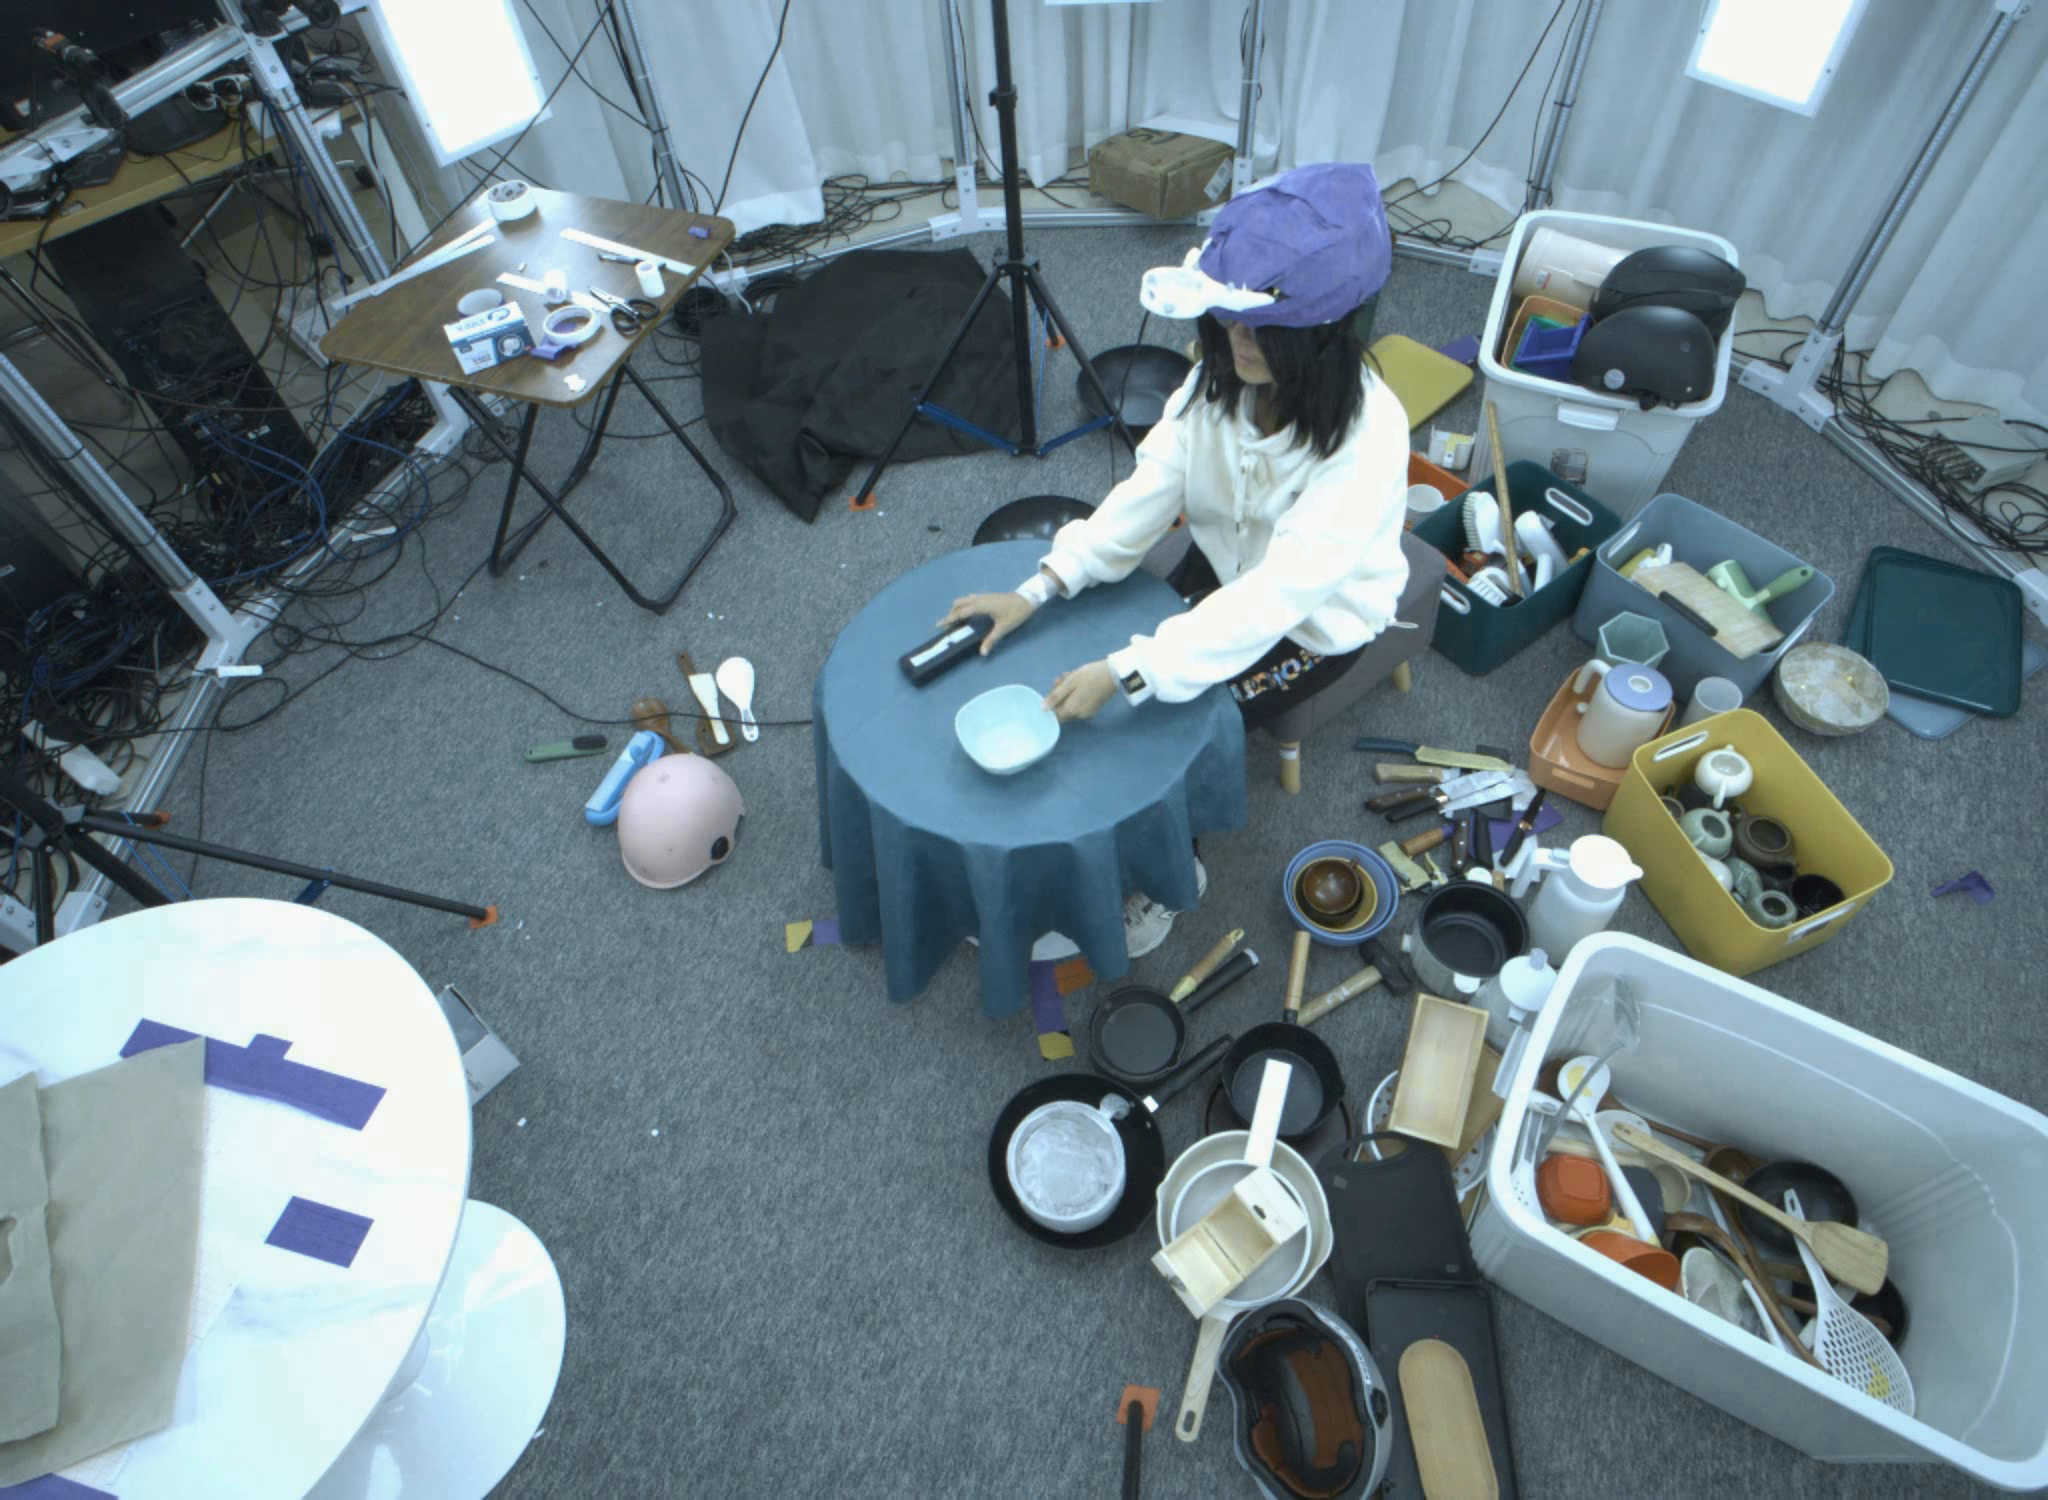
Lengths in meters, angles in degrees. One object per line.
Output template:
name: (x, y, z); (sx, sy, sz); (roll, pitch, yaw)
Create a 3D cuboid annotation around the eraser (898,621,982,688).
eraser: (-0.128, -0.147, 1.880); (0.126, 0.031, 0.052); (-34, 62, -22)

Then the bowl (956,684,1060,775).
bowl: (-0.022, -0.019, 1.768); (0.151, 0.059, 0.150); (0, 57, 1)
